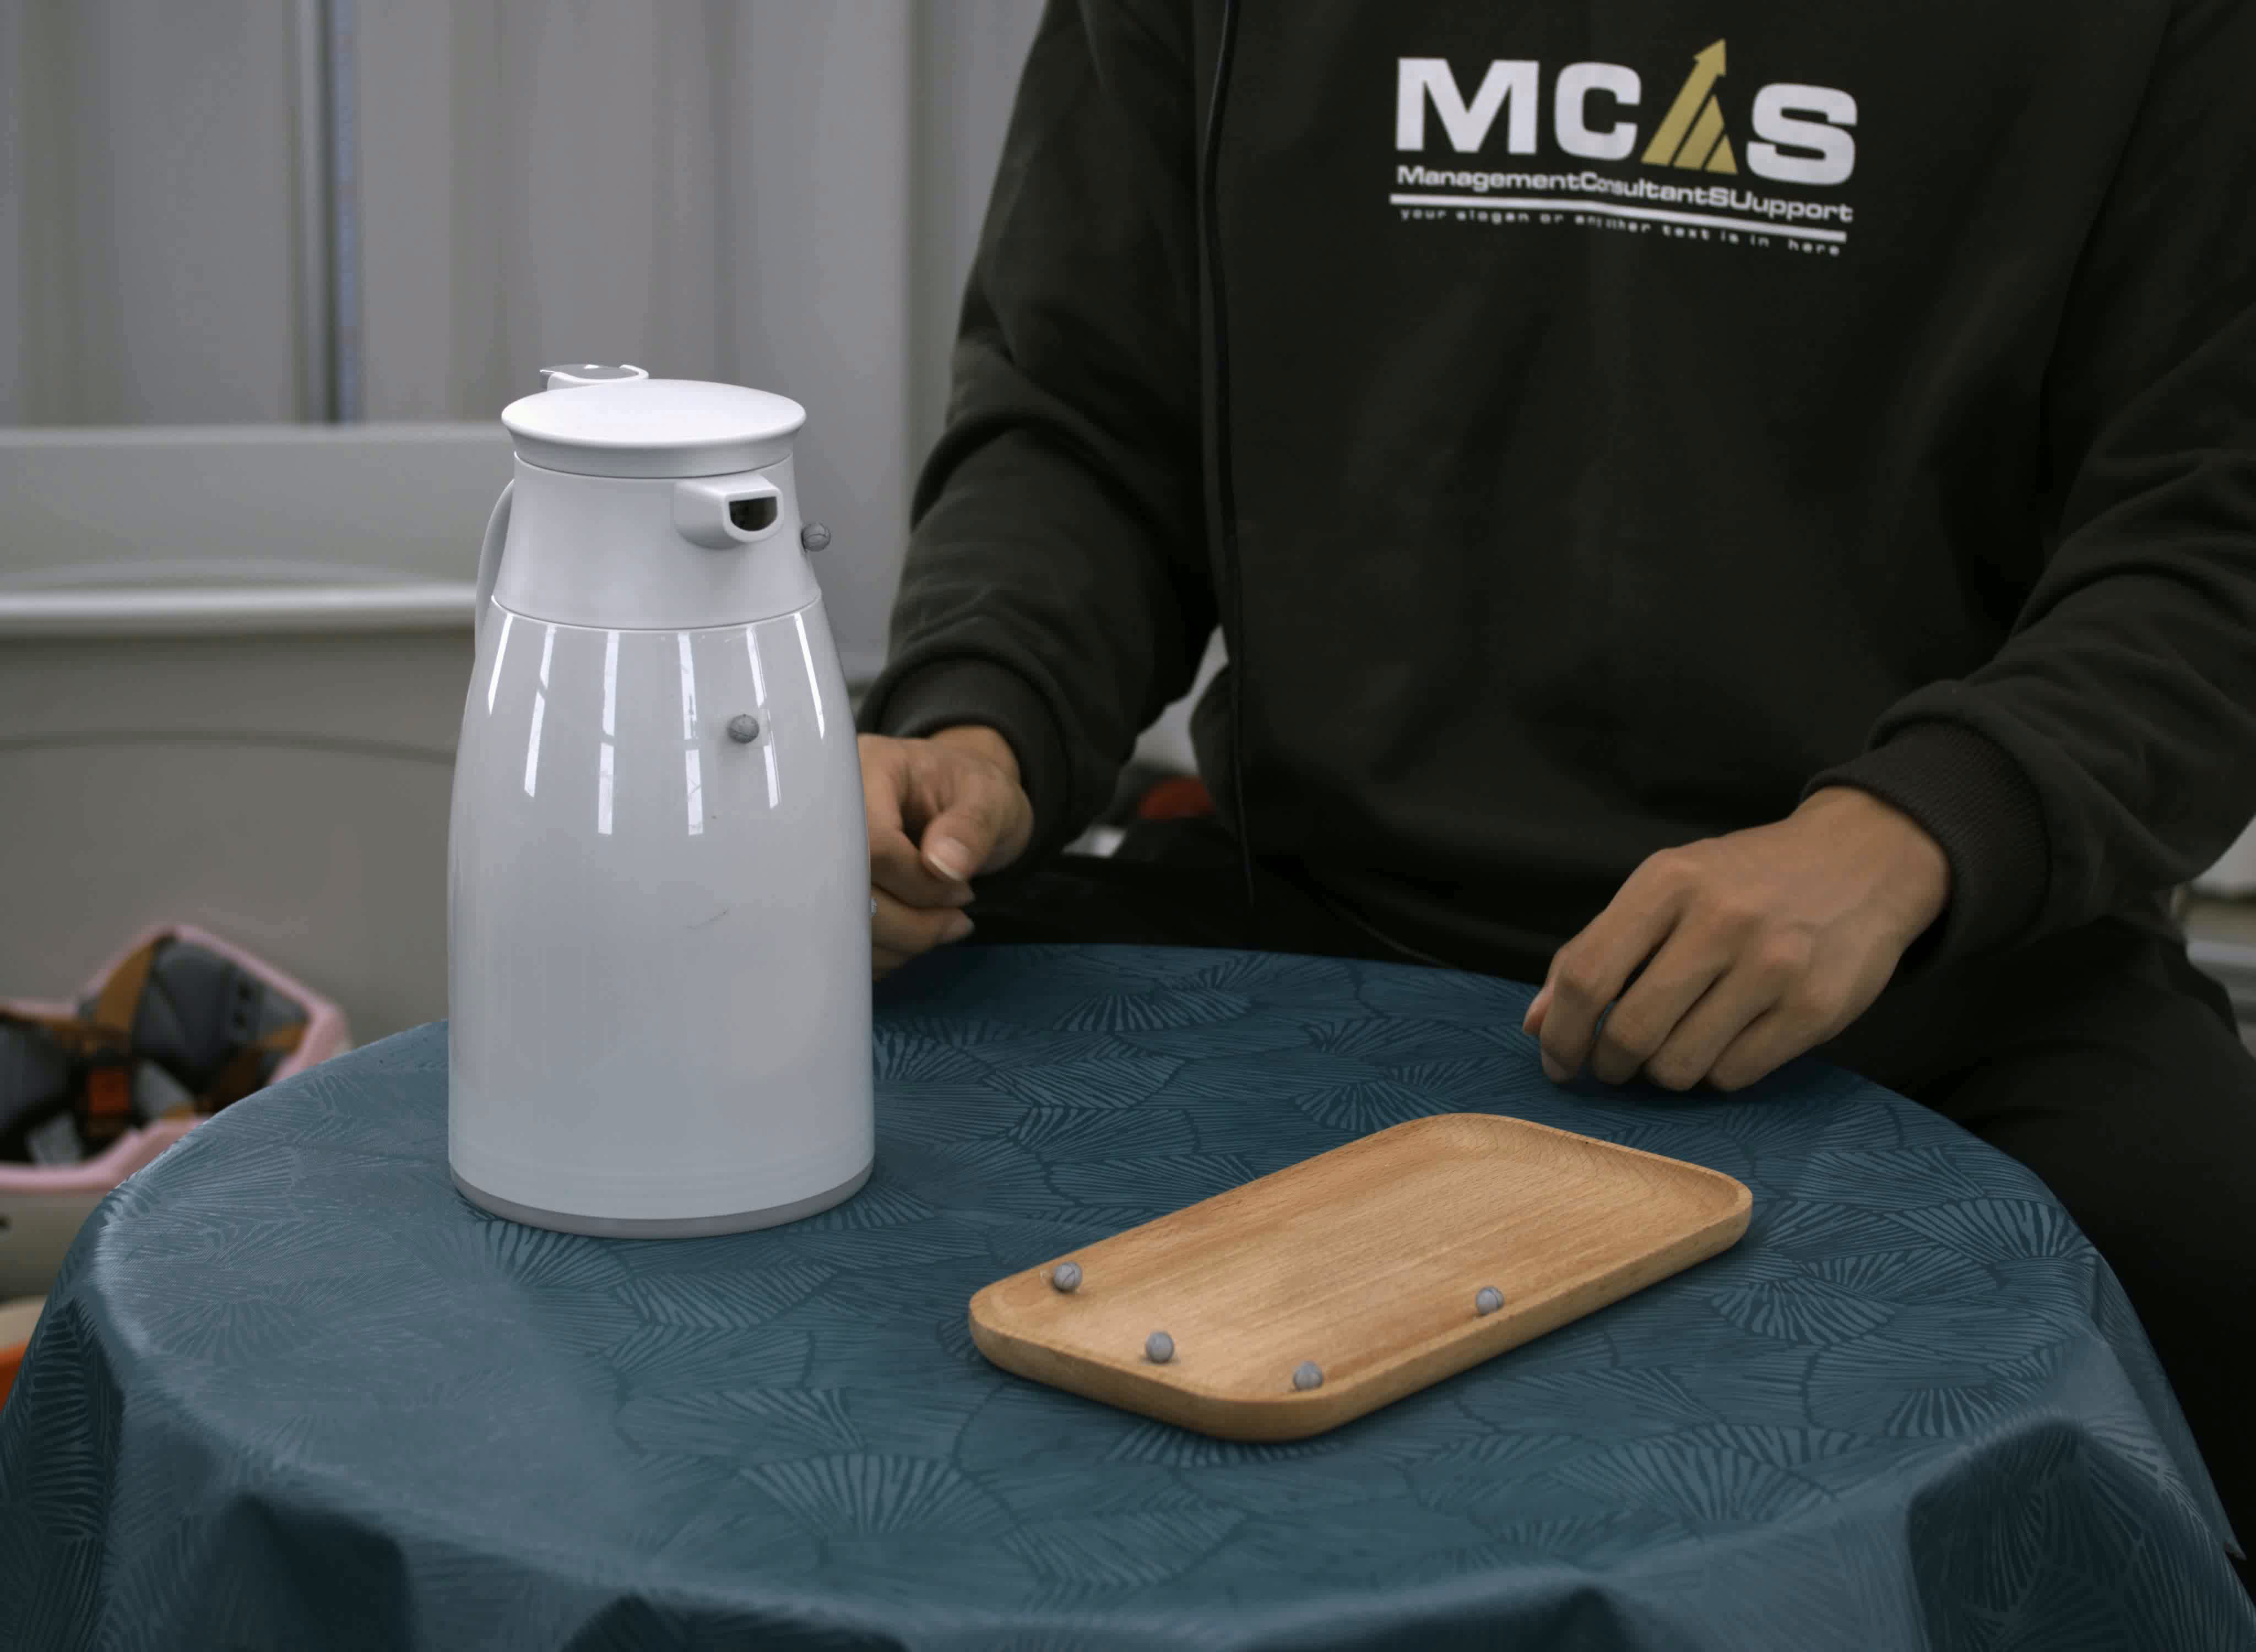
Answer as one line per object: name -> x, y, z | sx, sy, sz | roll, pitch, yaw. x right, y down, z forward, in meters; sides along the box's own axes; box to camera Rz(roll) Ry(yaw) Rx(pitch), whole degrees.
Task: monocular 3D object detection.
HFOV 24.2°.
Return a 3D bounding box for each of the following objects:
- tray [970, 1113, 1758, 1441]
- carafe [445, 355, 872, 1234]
tray -> 0.072, 0.129, 1.544 | 0.129, 0.023, 0.252 | 16, 21, 38
carafe -> -0.156, -0.018, 1.621 | 0.133, 0.250, 0.165 | -11, 19, -34
